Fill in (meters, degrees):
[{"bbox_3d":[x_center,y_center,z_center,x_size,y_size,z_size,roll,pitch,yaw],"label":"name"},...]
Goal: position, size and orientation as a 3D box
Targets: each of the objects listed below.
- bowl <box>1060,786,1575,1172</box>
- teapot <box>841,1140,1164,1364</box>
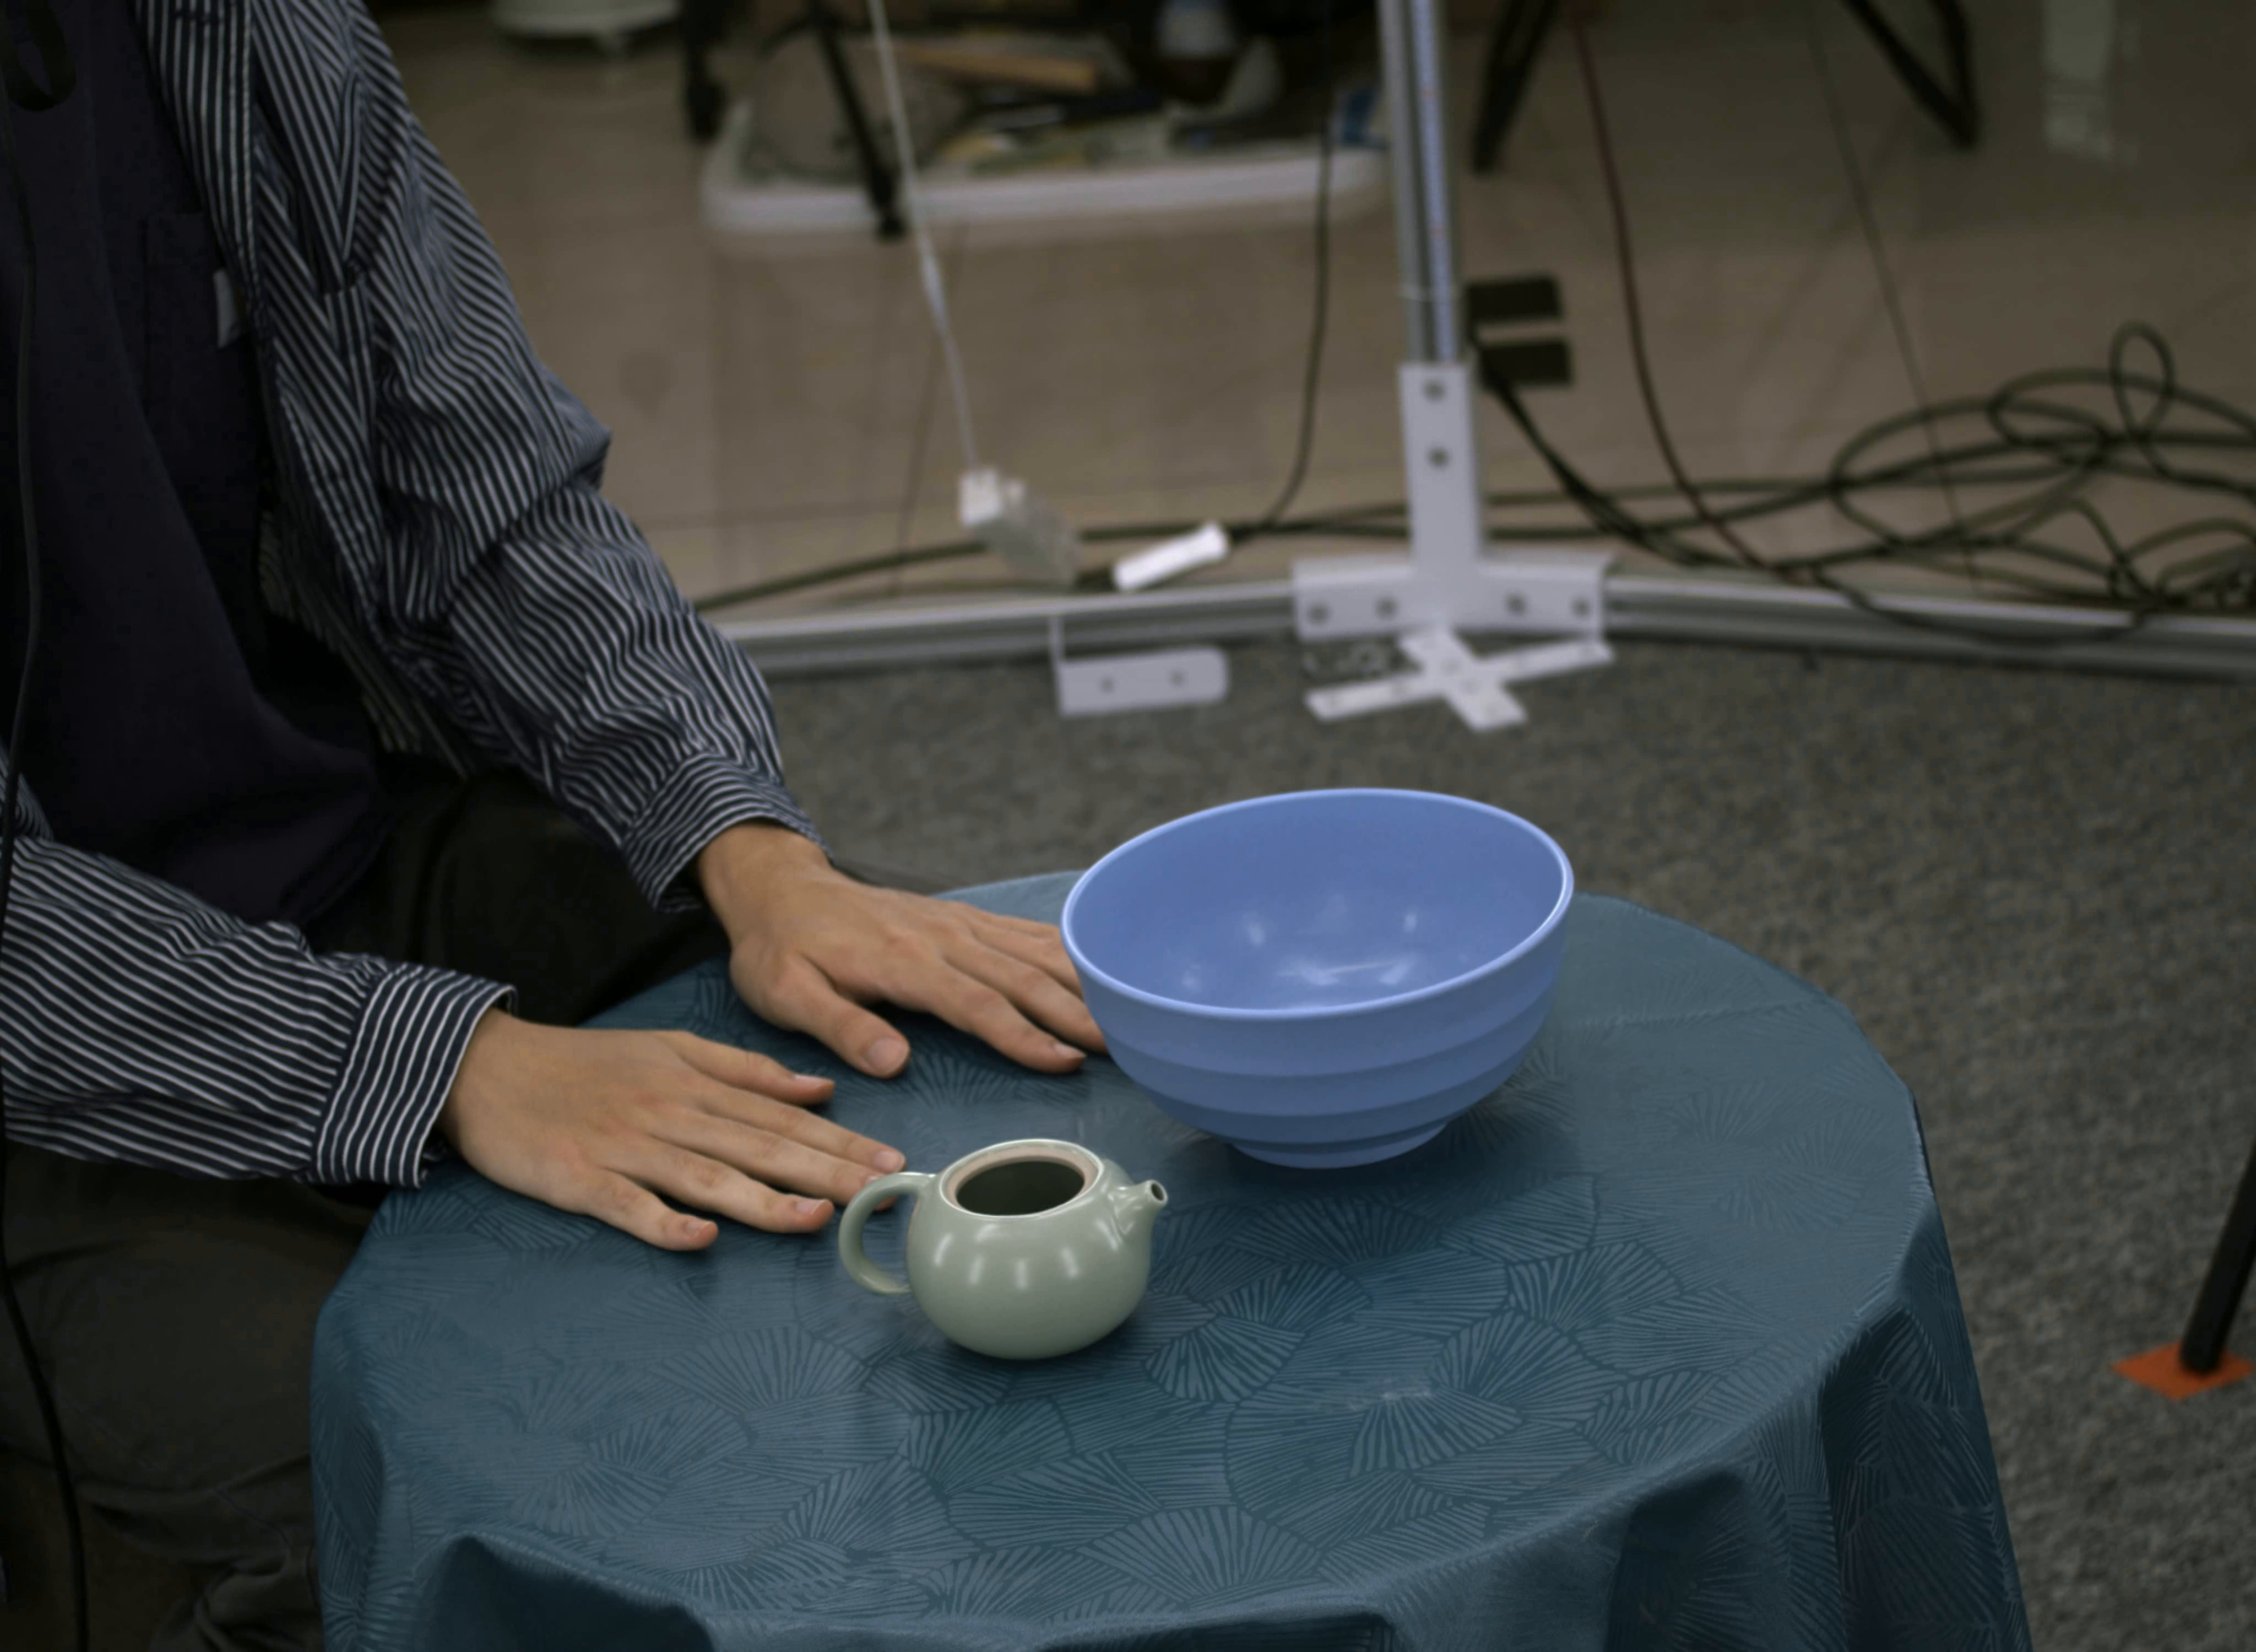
[{"bbox_3d":[0.076,0.069,2.170,0.196,0.097,0.193,-6,26,3],"label":"bowl"},{"bbox_3d":[-0.045,0.155,2.059,0.128,0.062,0.090,3,29,21],"label":"teapot"}]
